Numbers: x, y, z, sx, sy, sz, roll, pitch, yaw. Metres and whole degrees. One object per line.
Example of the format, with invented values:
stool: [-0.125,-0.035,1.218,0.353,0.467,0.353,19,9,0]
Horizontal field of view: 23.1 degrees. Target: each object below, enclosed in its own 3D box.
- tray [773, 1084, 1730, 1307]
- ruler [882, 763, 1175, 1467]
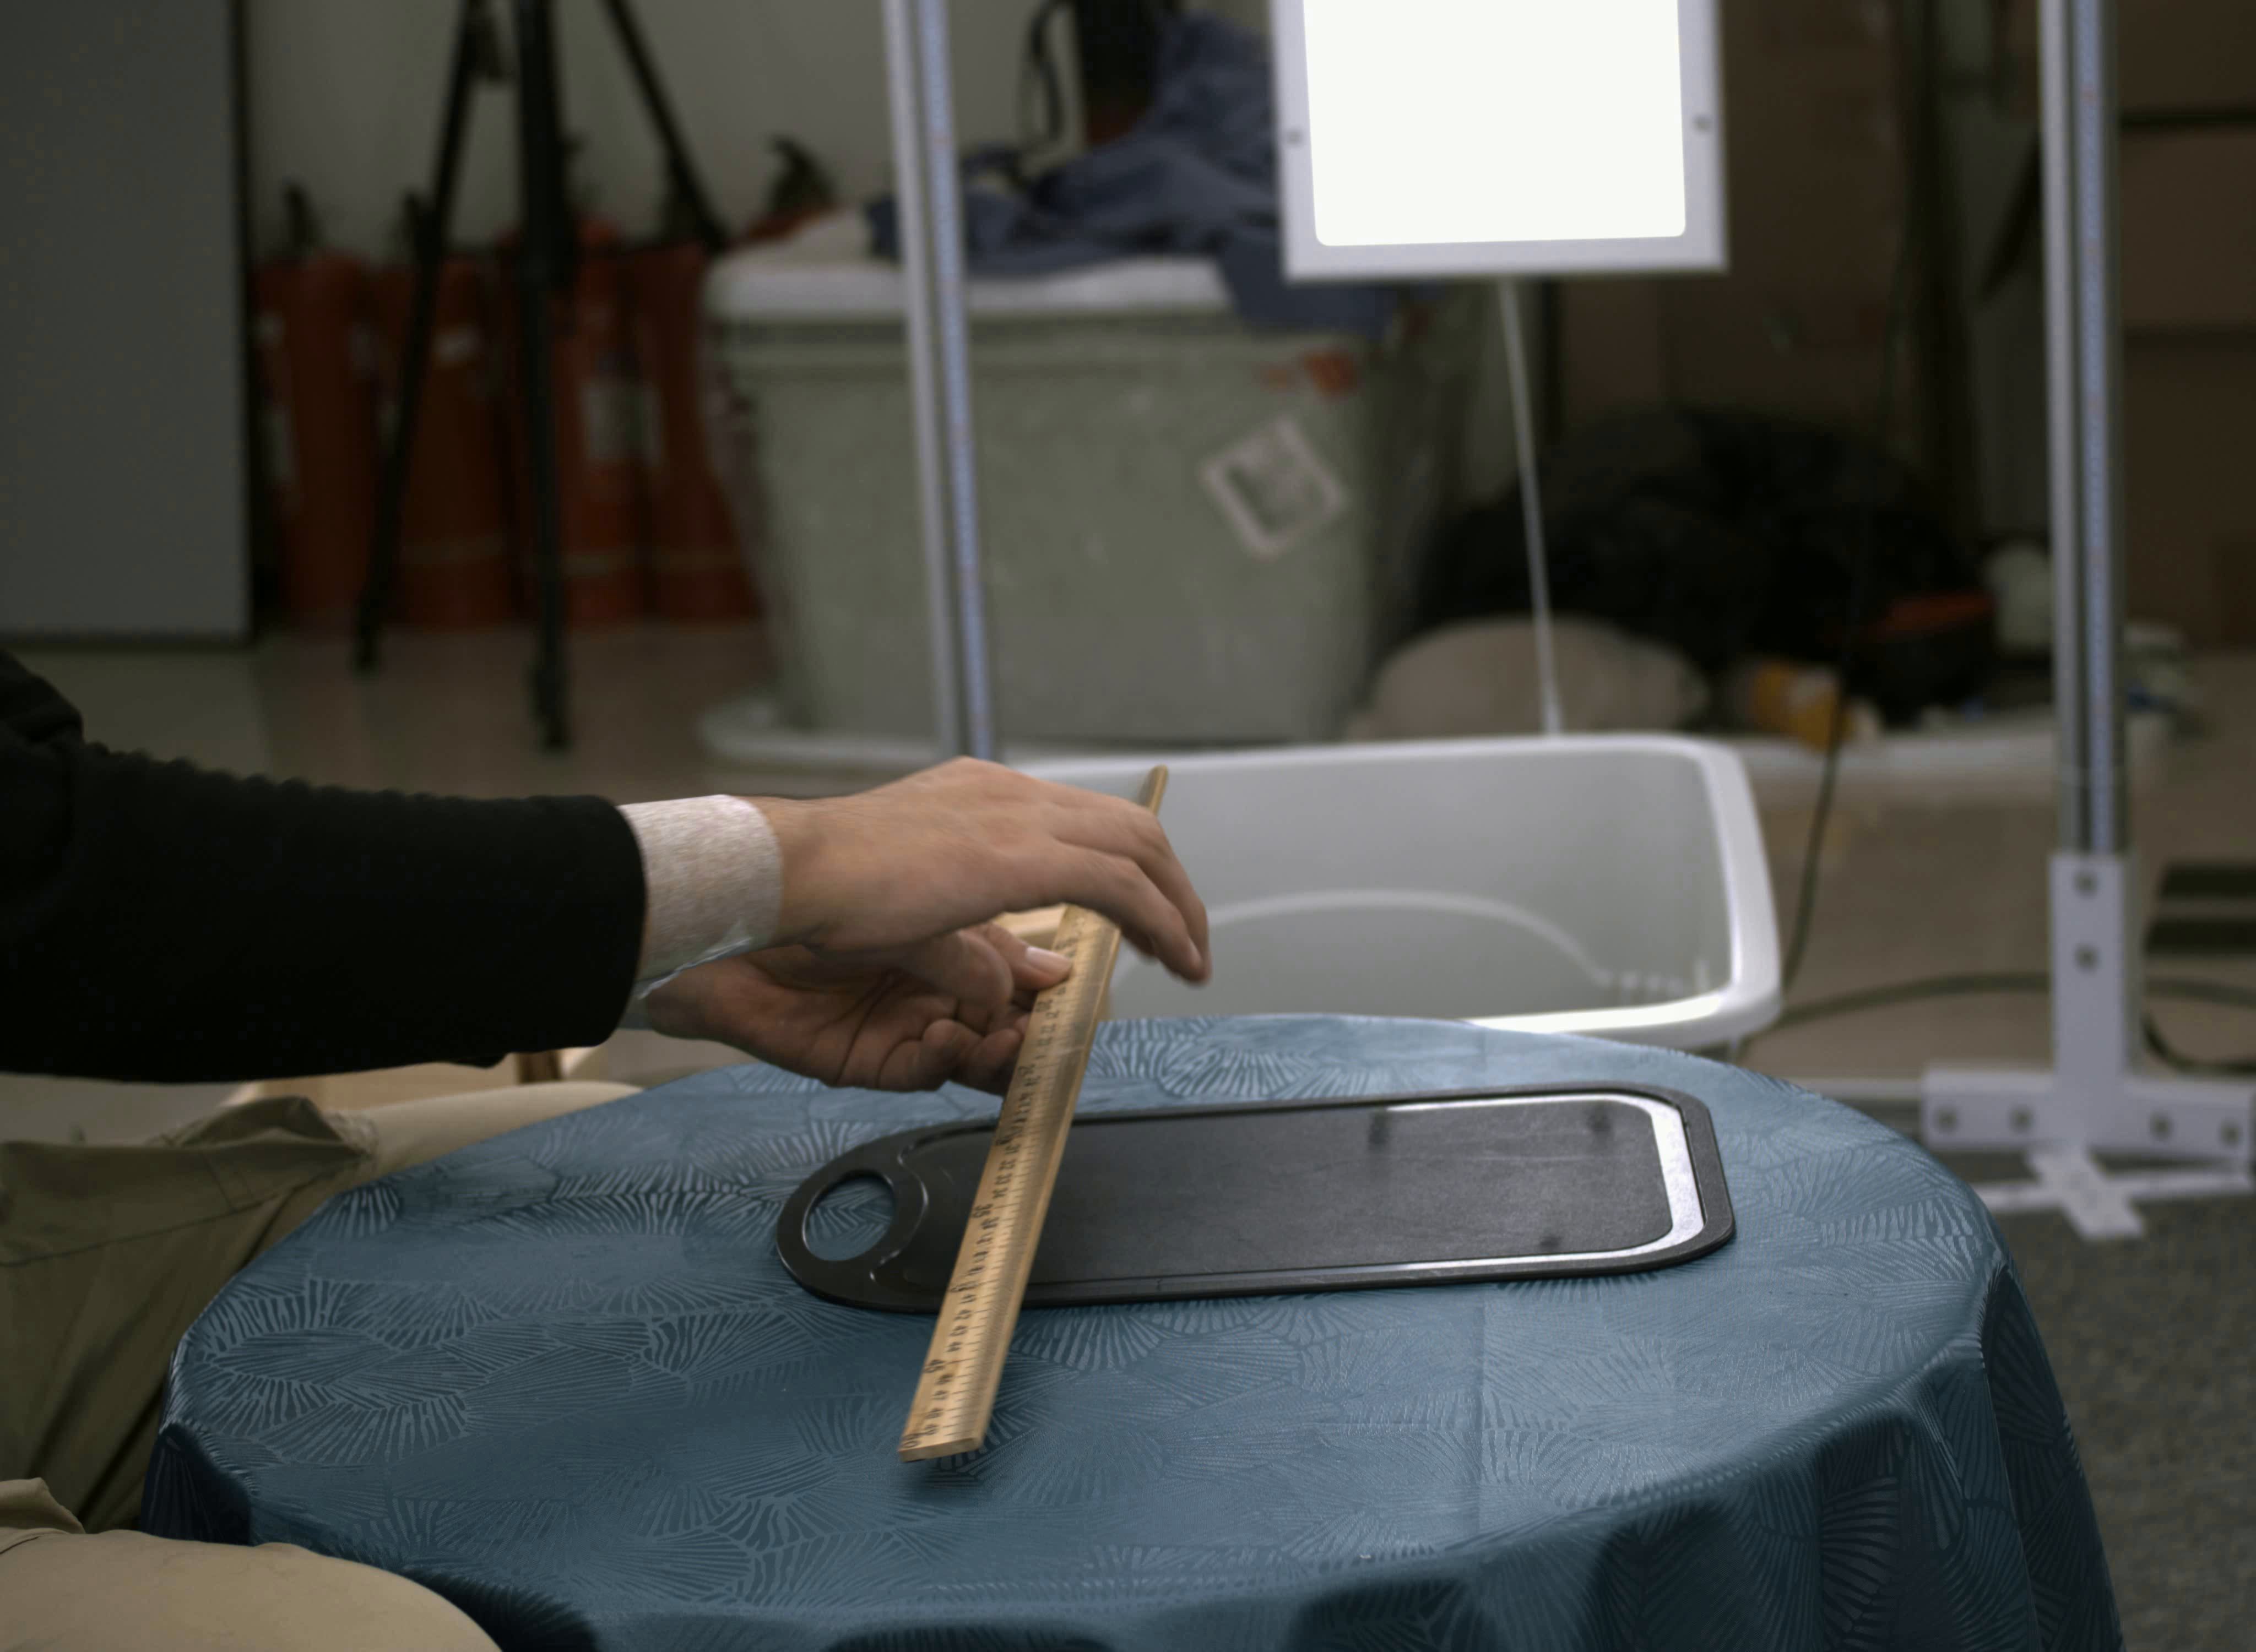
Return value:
tray: [0.040,0.123,1.877,0.326,0.010,0.210,-3,14,5]
ruler: [-0.028,0.083,1.848,0.027,0.006,0.495,-16,21,15]
